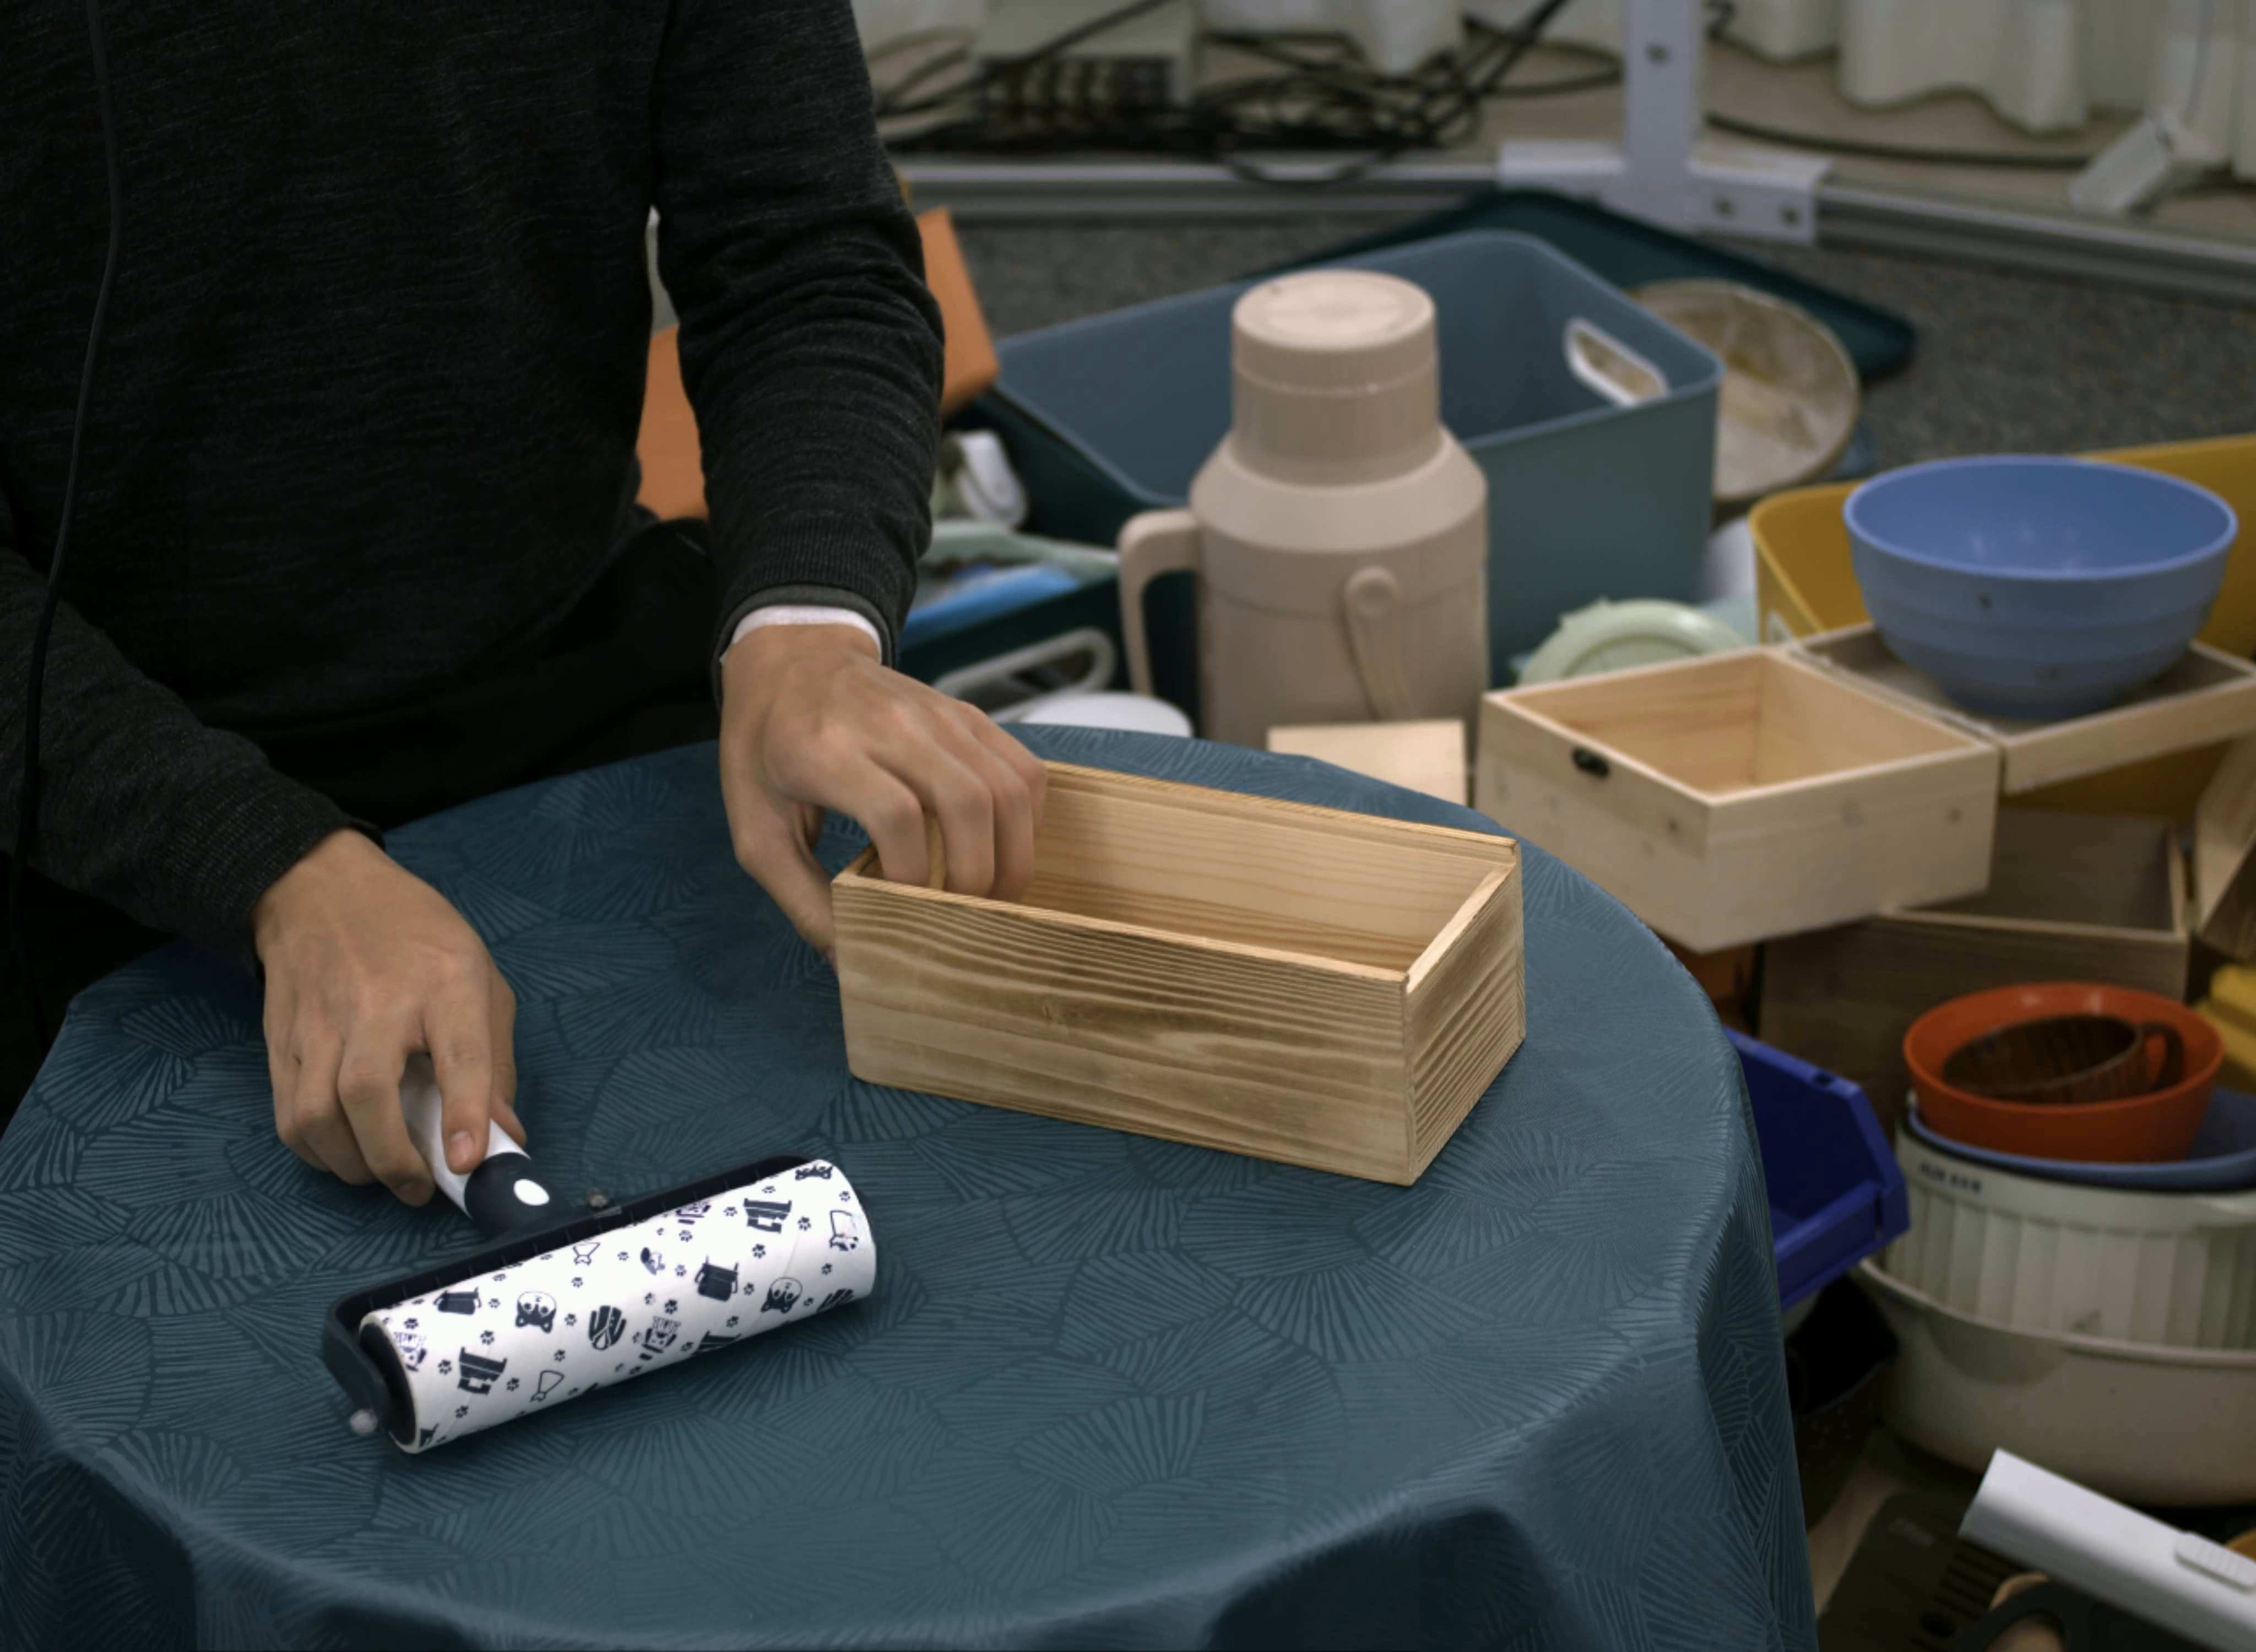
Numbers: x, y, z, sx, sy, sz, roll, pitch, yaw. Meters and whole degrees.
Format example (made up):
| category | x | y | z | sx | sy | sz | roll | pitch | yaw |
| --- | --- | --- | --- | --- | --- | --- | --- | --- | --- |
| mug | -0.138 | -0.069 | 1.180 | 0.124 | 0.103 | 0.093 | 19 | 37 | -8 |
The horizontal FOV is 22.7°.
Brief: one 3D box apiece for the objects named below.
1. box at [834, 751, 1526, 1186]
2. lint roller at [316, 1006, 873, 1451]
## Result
| category | x | y | z | sx | sy | sz | roll | pitch | yaw |
| --- | --- | --- | --- | --- | --- | --- | --- | --- | --- |
| box | 0.018 | 0.046 | 1.919 | 0.210 | 0.079 | 0.109 | 9 | 29 | 23 |
| lint roller | -0.215 | 0.109 | 1.848 | 0.177 | 0.050 | 0.248 | -23 | 32 | -24 |
